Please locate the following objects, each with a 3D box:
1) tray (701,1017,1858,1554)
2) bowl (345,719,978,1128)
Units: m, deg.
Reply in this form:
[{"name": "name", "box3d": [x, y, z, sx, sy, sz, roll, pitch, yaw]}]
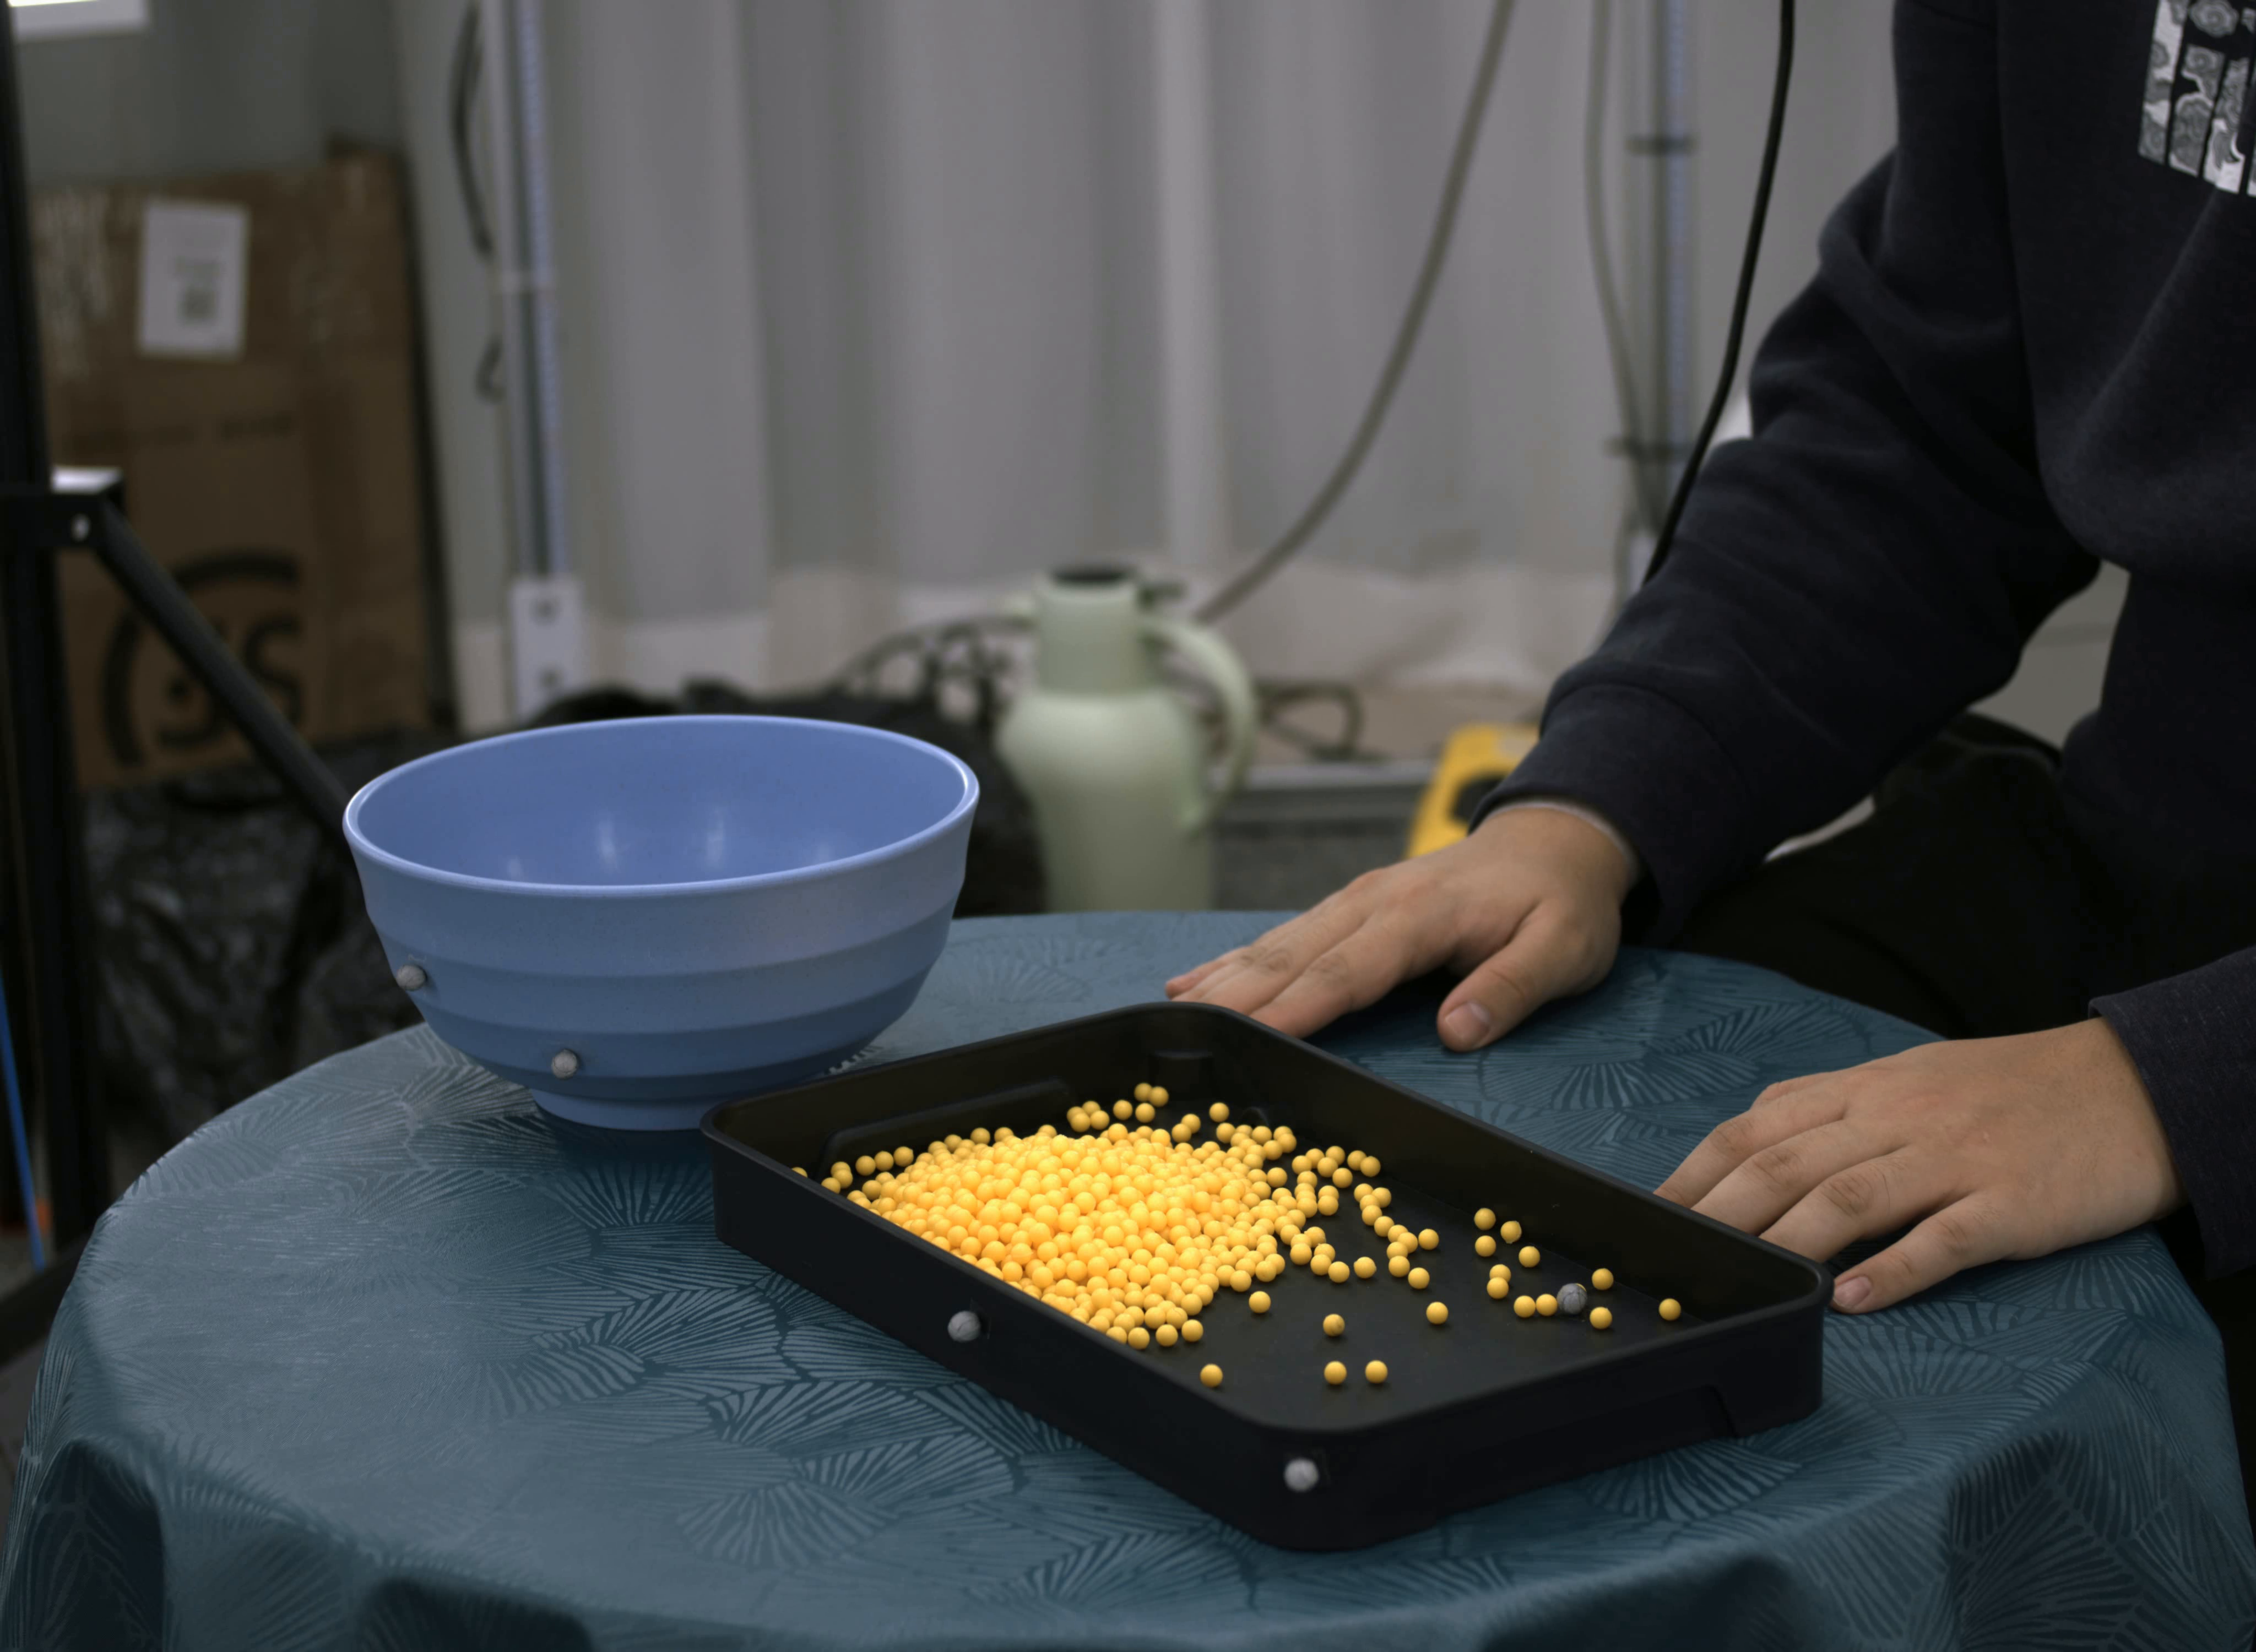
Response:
[{"name": "tray", "box3d": [0.034, 0.119, 1.453, 0.180, 0.037, 0.325, -12, 17, -32]}, {"name": "bowl", "box3d": [-0.141, 0.035, 1.660, 0.195, 0.095, 0.197, -4, 15, 0]}]
